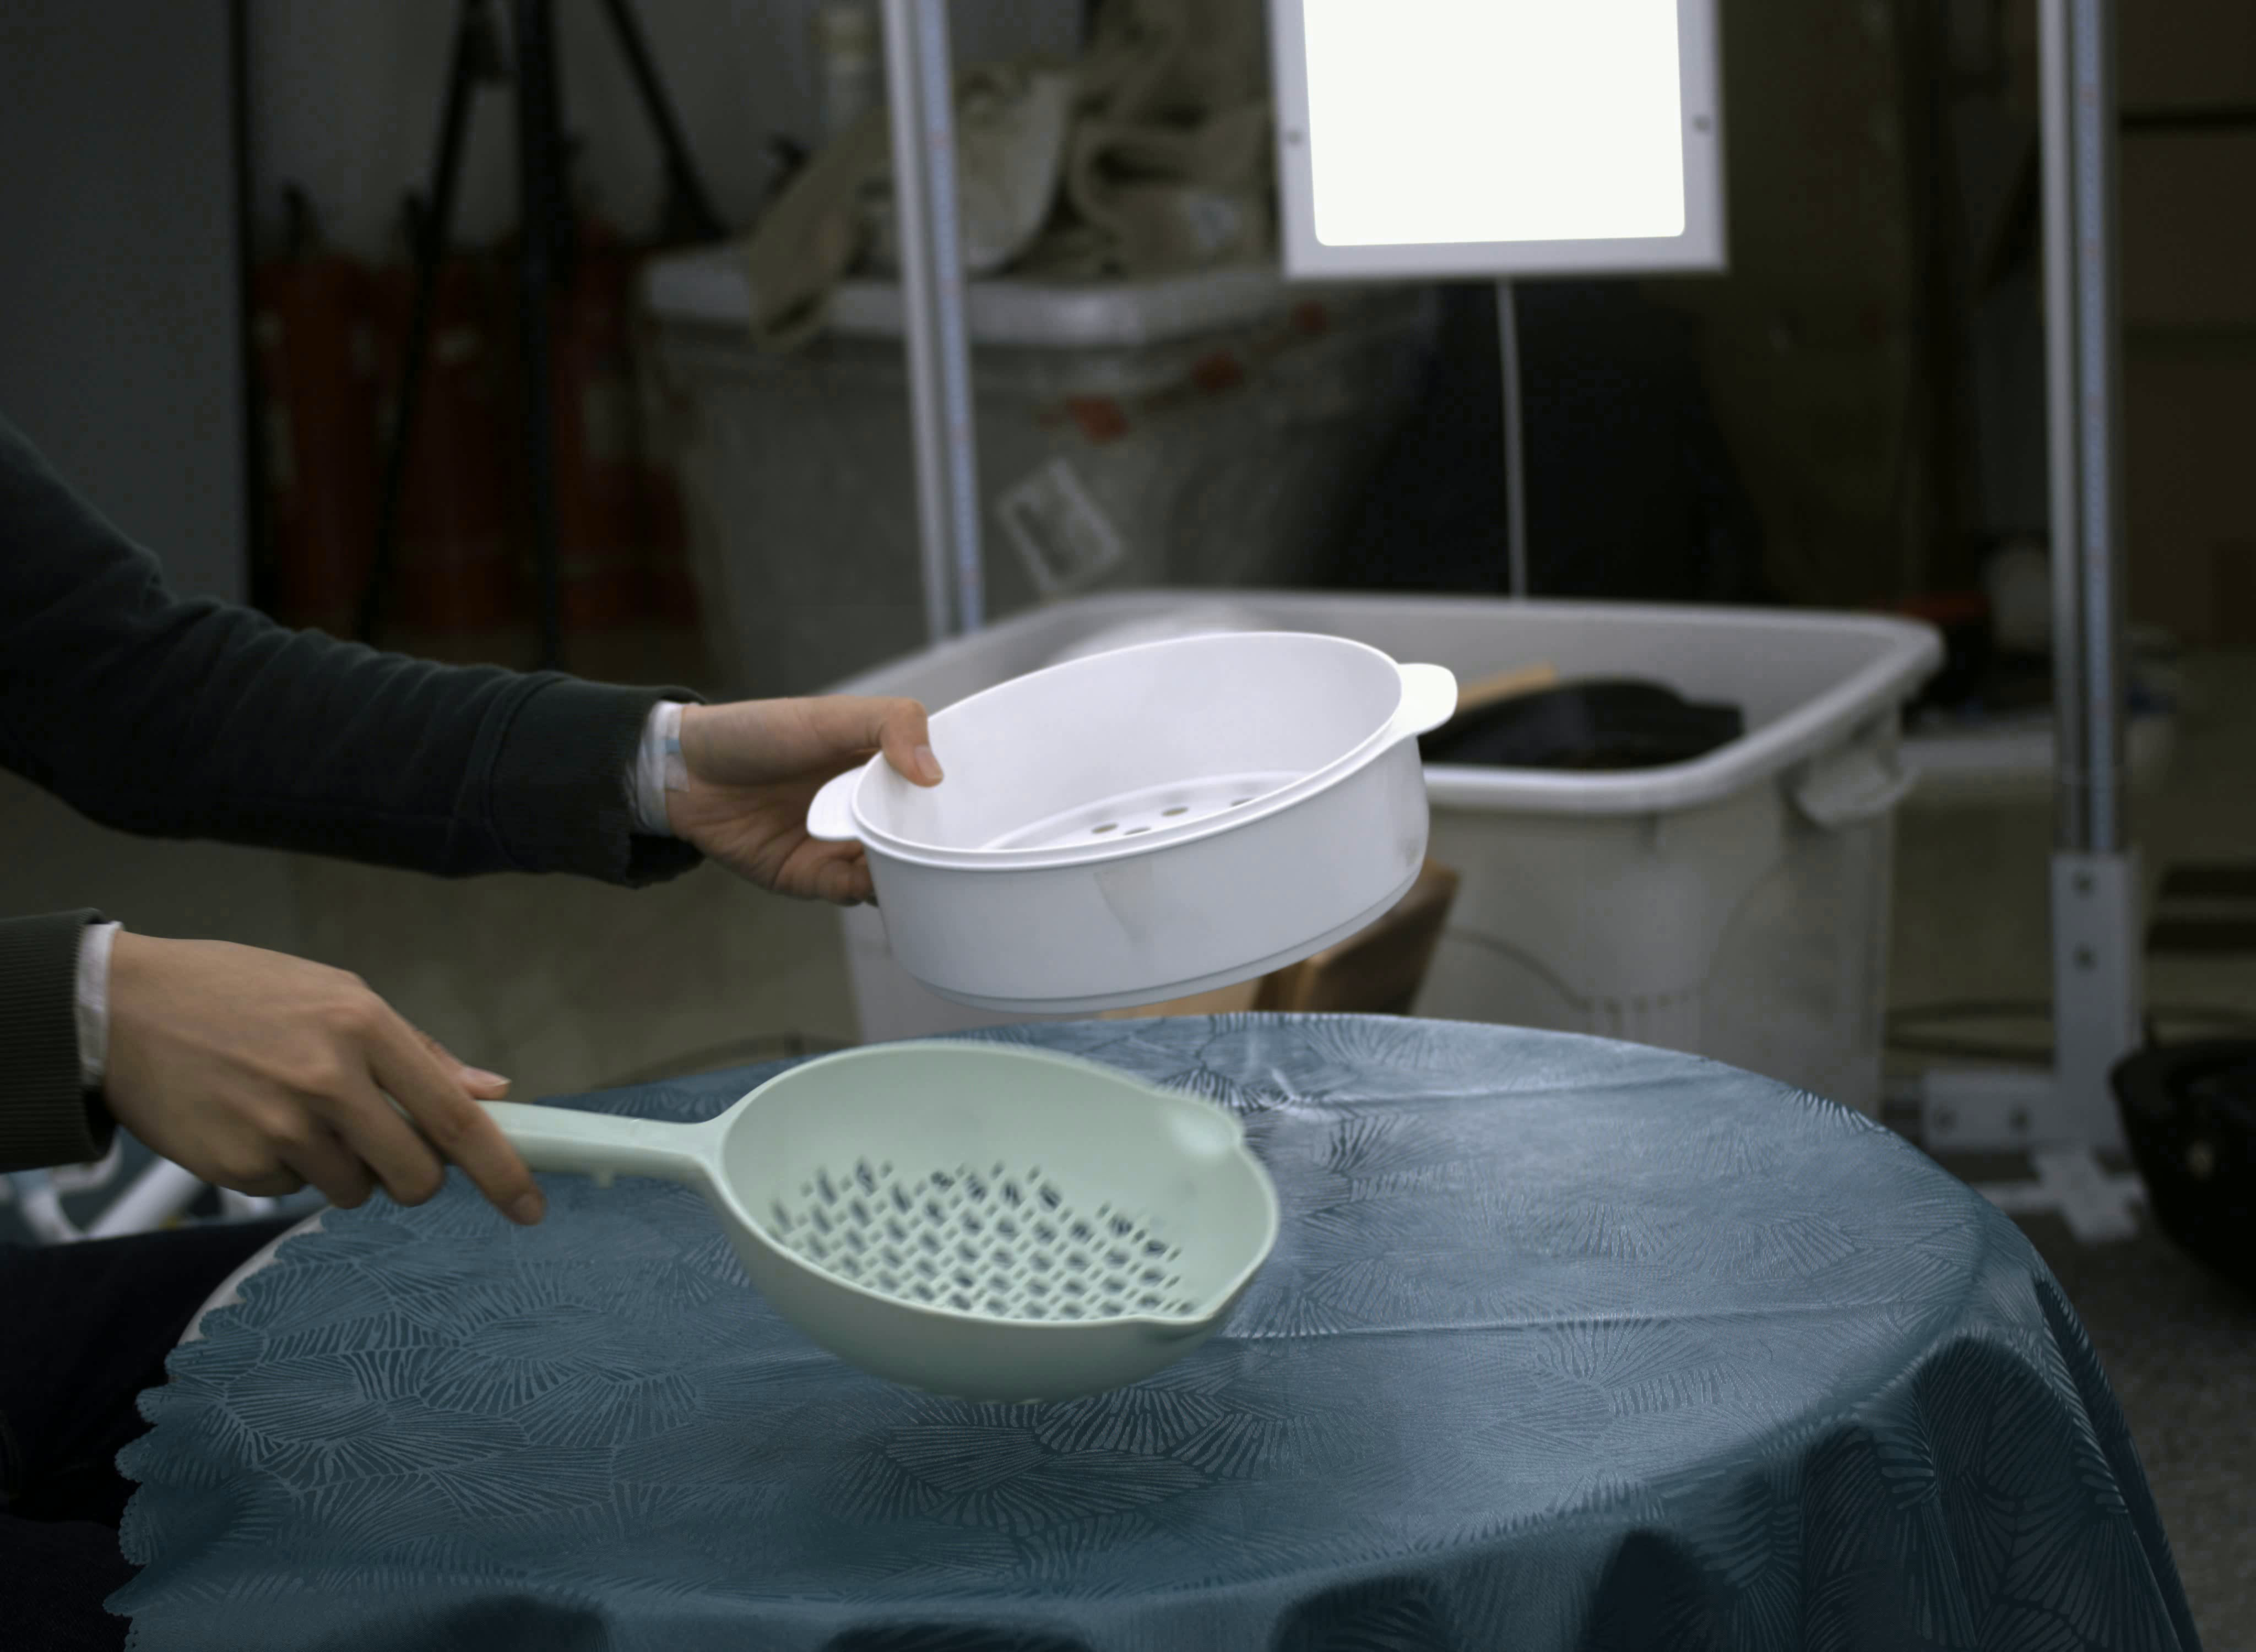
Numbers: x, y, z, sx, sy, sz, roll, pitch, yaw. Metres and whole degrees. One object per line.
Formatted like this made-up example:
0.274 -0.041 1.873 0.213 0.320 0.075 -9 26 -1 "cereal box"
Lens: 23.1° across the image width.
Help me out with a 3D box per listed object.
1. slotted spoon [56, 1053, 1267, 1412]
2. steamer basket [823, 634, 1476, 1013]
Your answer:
-0.140 0.104 1.650 0.357 0.076 0.168 16 22 -2 "slotted spoon"
0.013 0.000 1.900 0.231 0.069 0.201 -11 19 8 "steamer basket"
